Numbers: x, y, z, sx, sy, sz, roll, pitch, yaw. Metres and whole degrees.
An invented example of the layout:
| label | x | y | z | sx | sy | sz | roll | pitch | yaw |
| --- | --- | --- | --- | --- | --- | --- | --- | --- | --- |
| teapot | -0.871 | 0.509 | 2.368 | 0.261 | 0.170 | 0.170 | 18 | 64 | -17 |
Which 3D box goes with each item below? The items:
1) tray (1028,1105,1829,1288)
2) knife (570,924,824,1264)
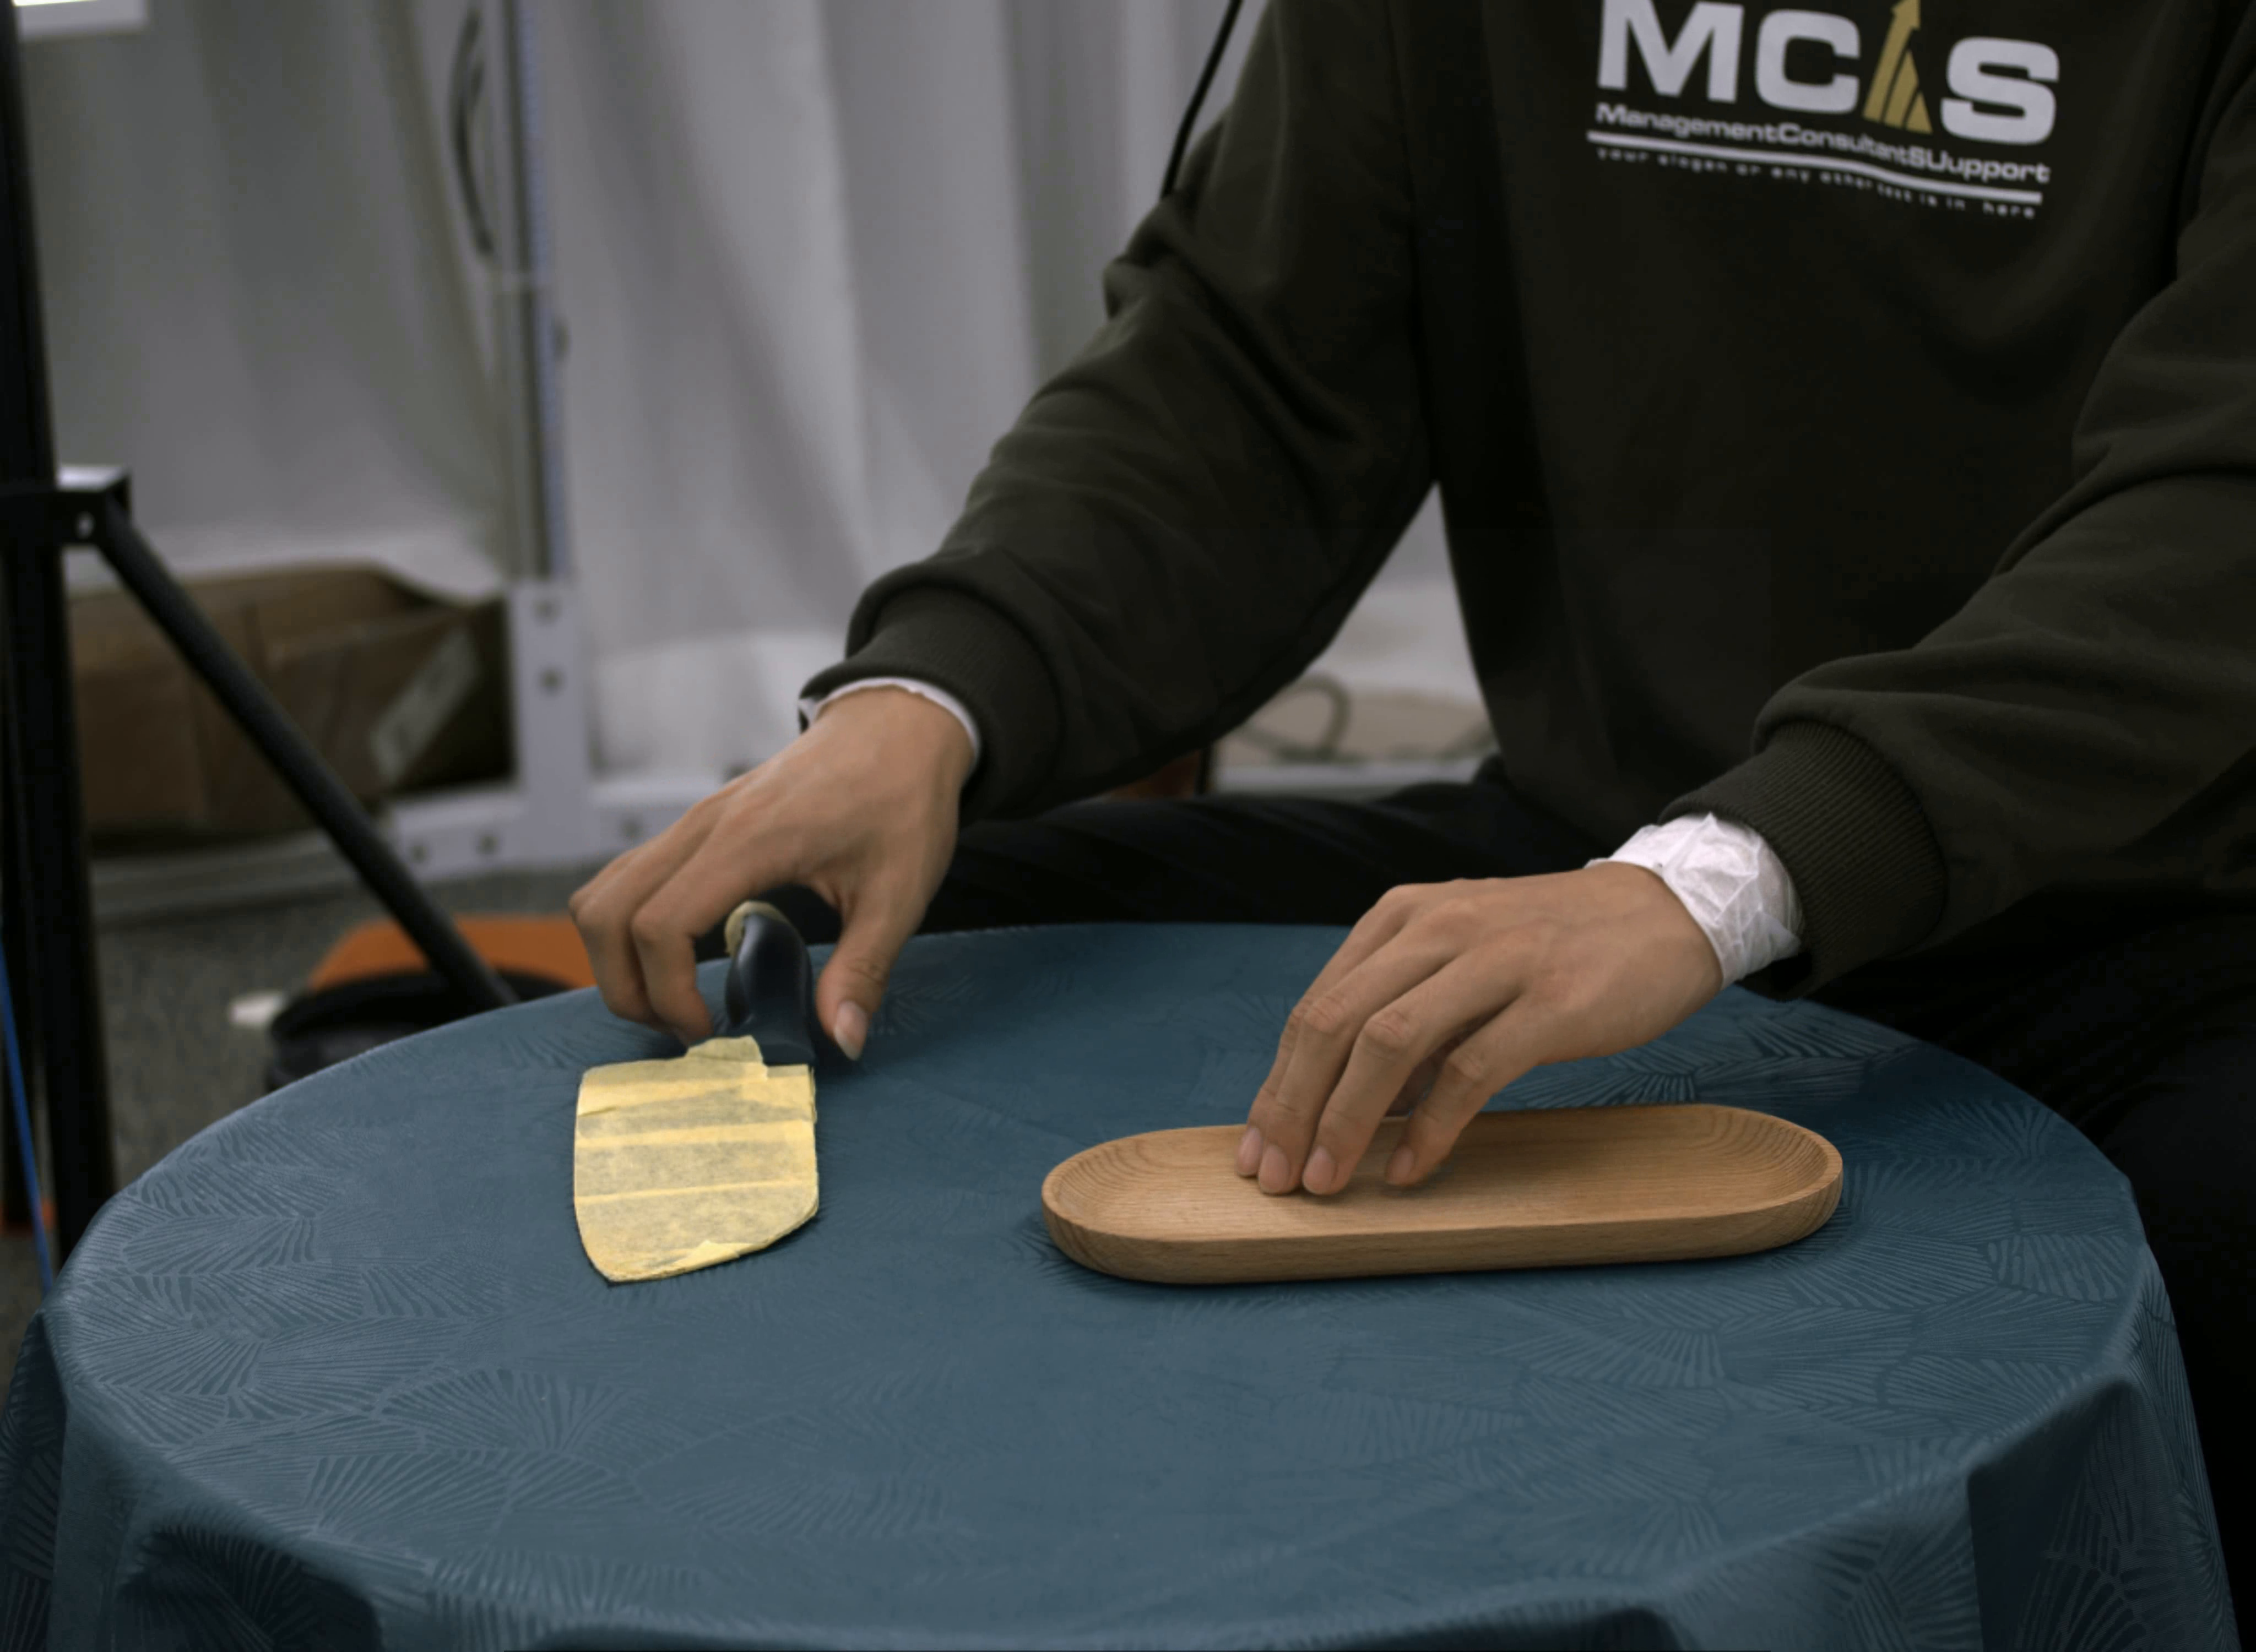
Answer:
| label | x | y | z | sx | sy | sz | roll | pitch | yaw |
| --- | --- | --- | --- | --- | --- | --- | --- | --- | --- |
| tray | 0.087 | 0.107 | 1.523 | 0.230 | 0.020 | 0.102 | -4 | 14 | 0 |
| knife | -0.131 | 0.083 | 1.646 | 0.080 | 0.027 | 0.291 | -1 | 17 | -1 |
